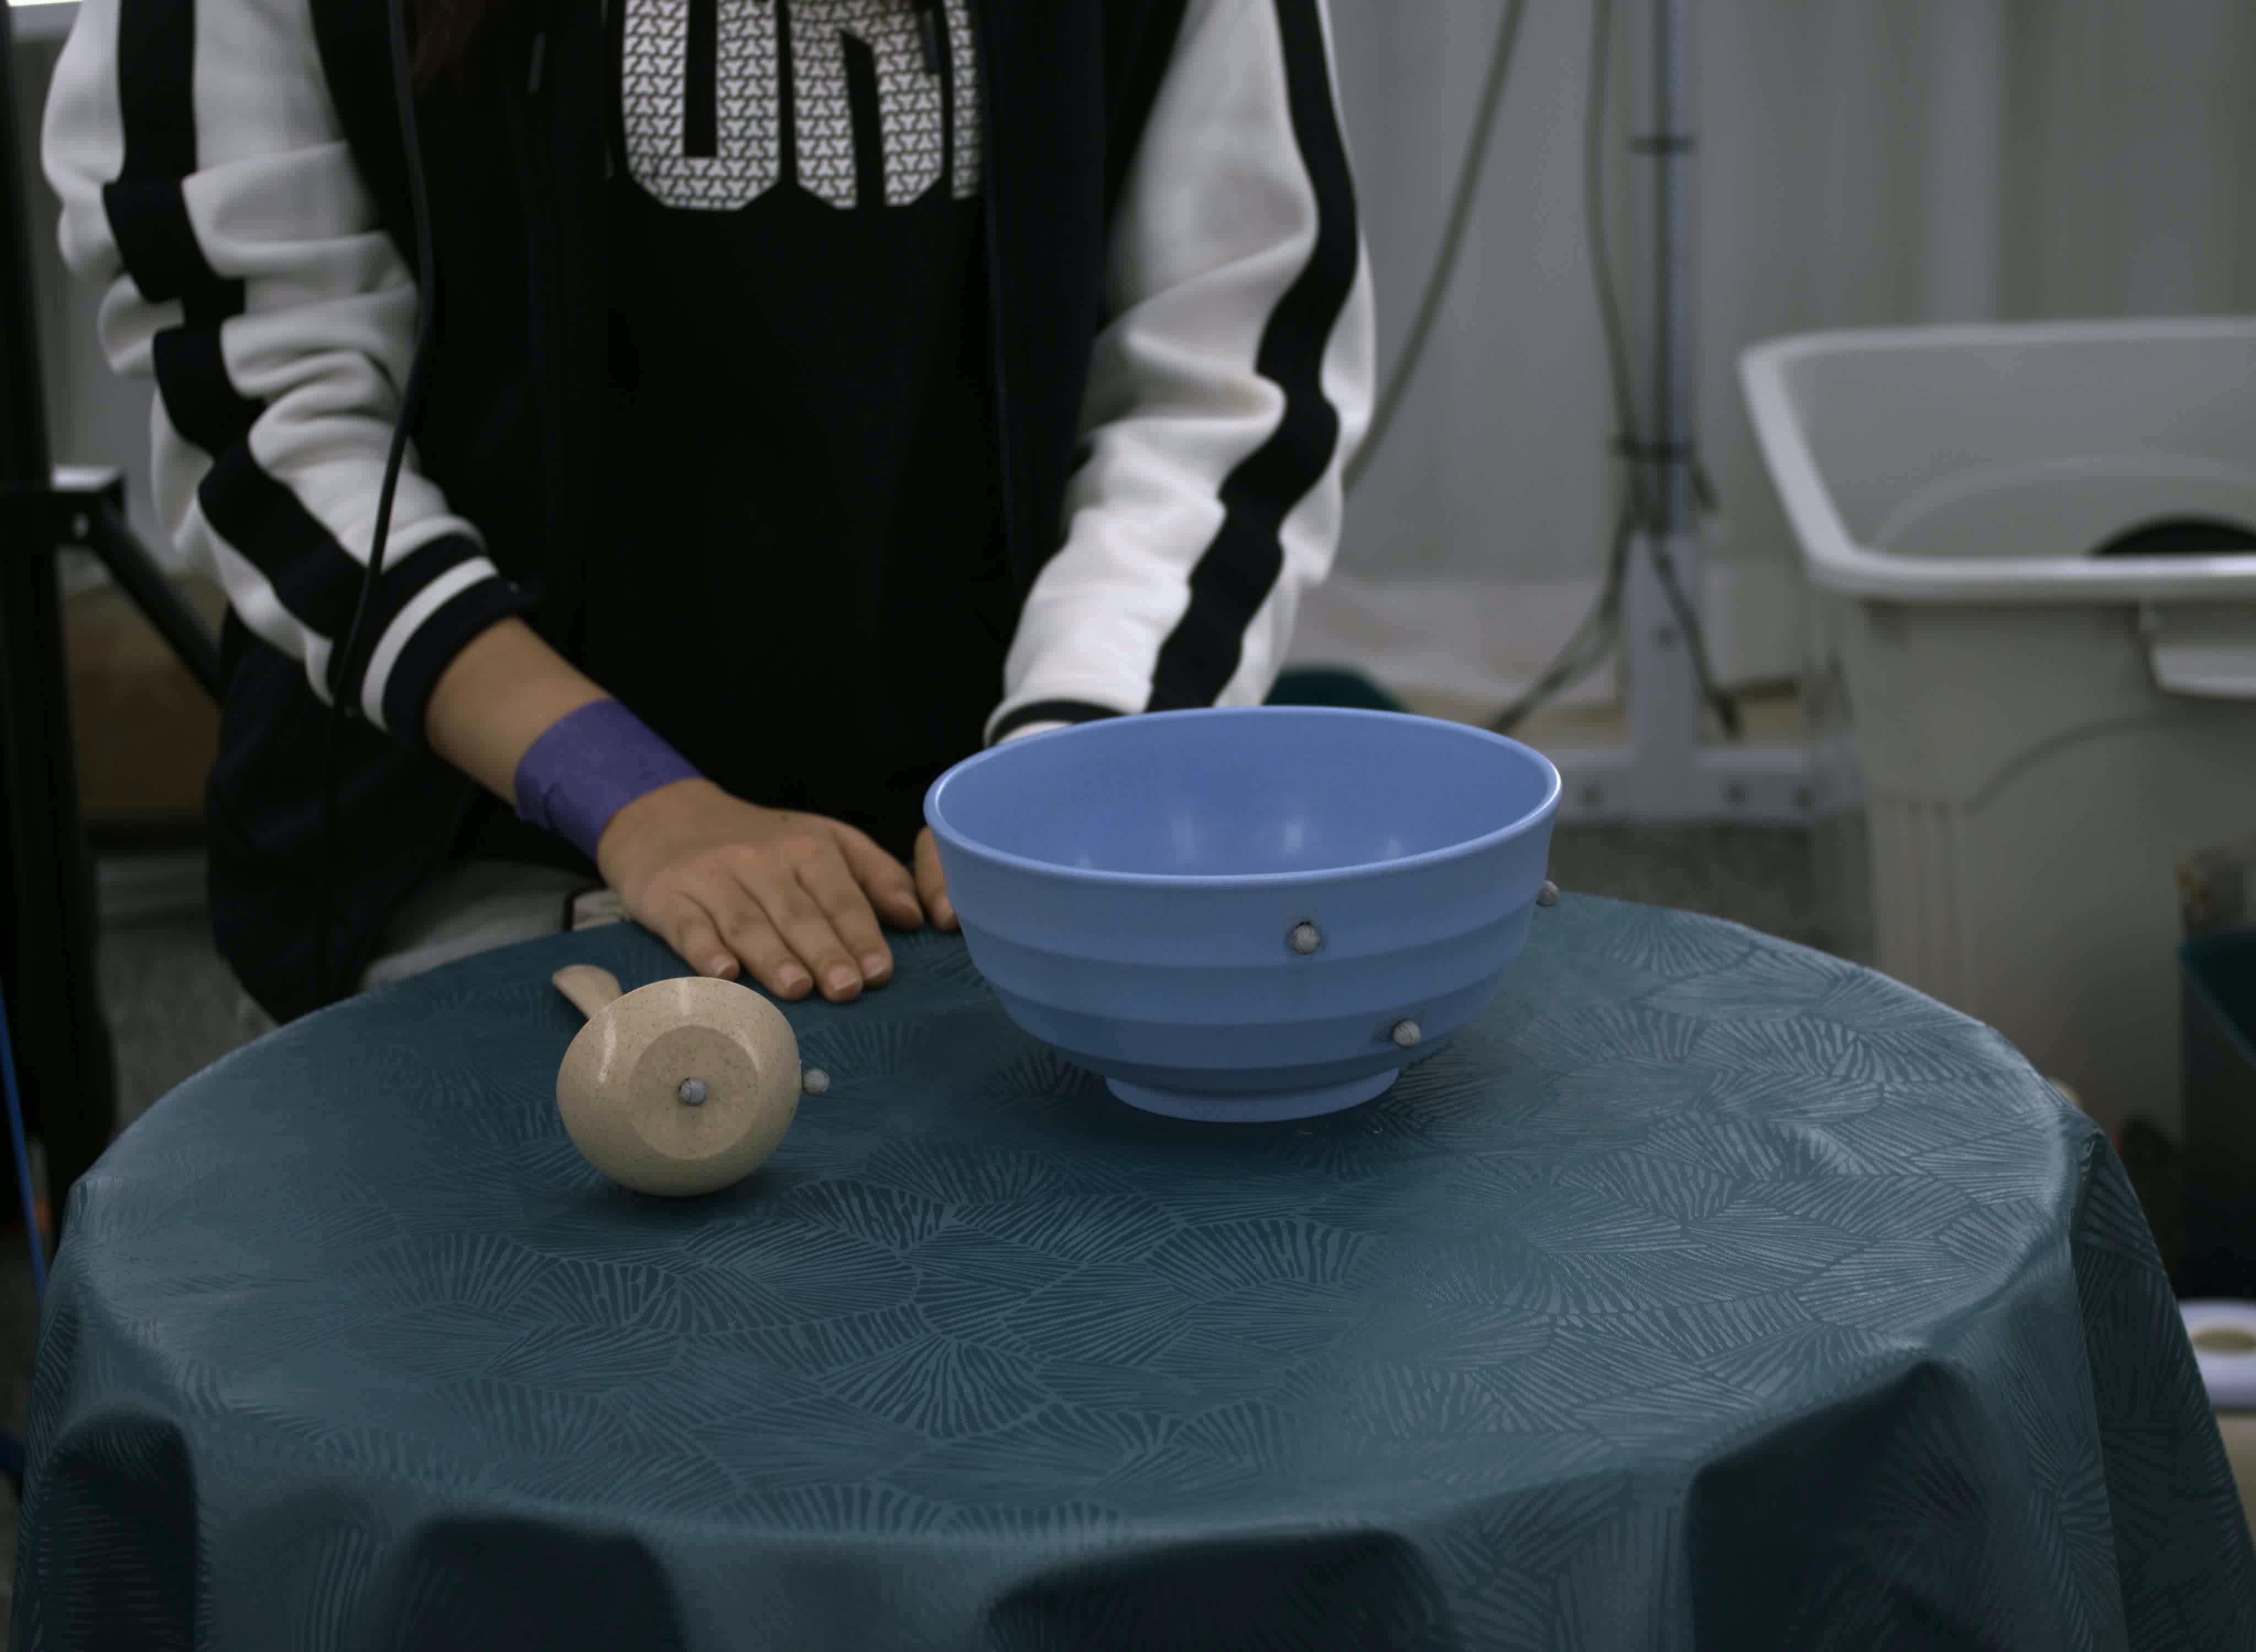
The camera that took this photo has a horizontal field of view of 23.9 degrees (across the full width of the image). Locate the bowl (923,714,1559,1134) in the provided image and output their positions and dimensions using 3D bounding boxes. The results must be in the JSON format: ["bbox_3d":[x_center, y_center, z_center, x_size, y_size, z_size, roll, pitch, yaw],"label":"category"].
[{"bbox_3d":[0.037,0.036,1.644,0.195,0.095,0.197,-4,16,0],"label":"bowl"}]

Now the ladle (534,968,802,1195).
[{"bbox_3d":[-0.157,0.049,1.659,0.071,0.073,0.258,-5,16,-15],"label":"ladle"}]
